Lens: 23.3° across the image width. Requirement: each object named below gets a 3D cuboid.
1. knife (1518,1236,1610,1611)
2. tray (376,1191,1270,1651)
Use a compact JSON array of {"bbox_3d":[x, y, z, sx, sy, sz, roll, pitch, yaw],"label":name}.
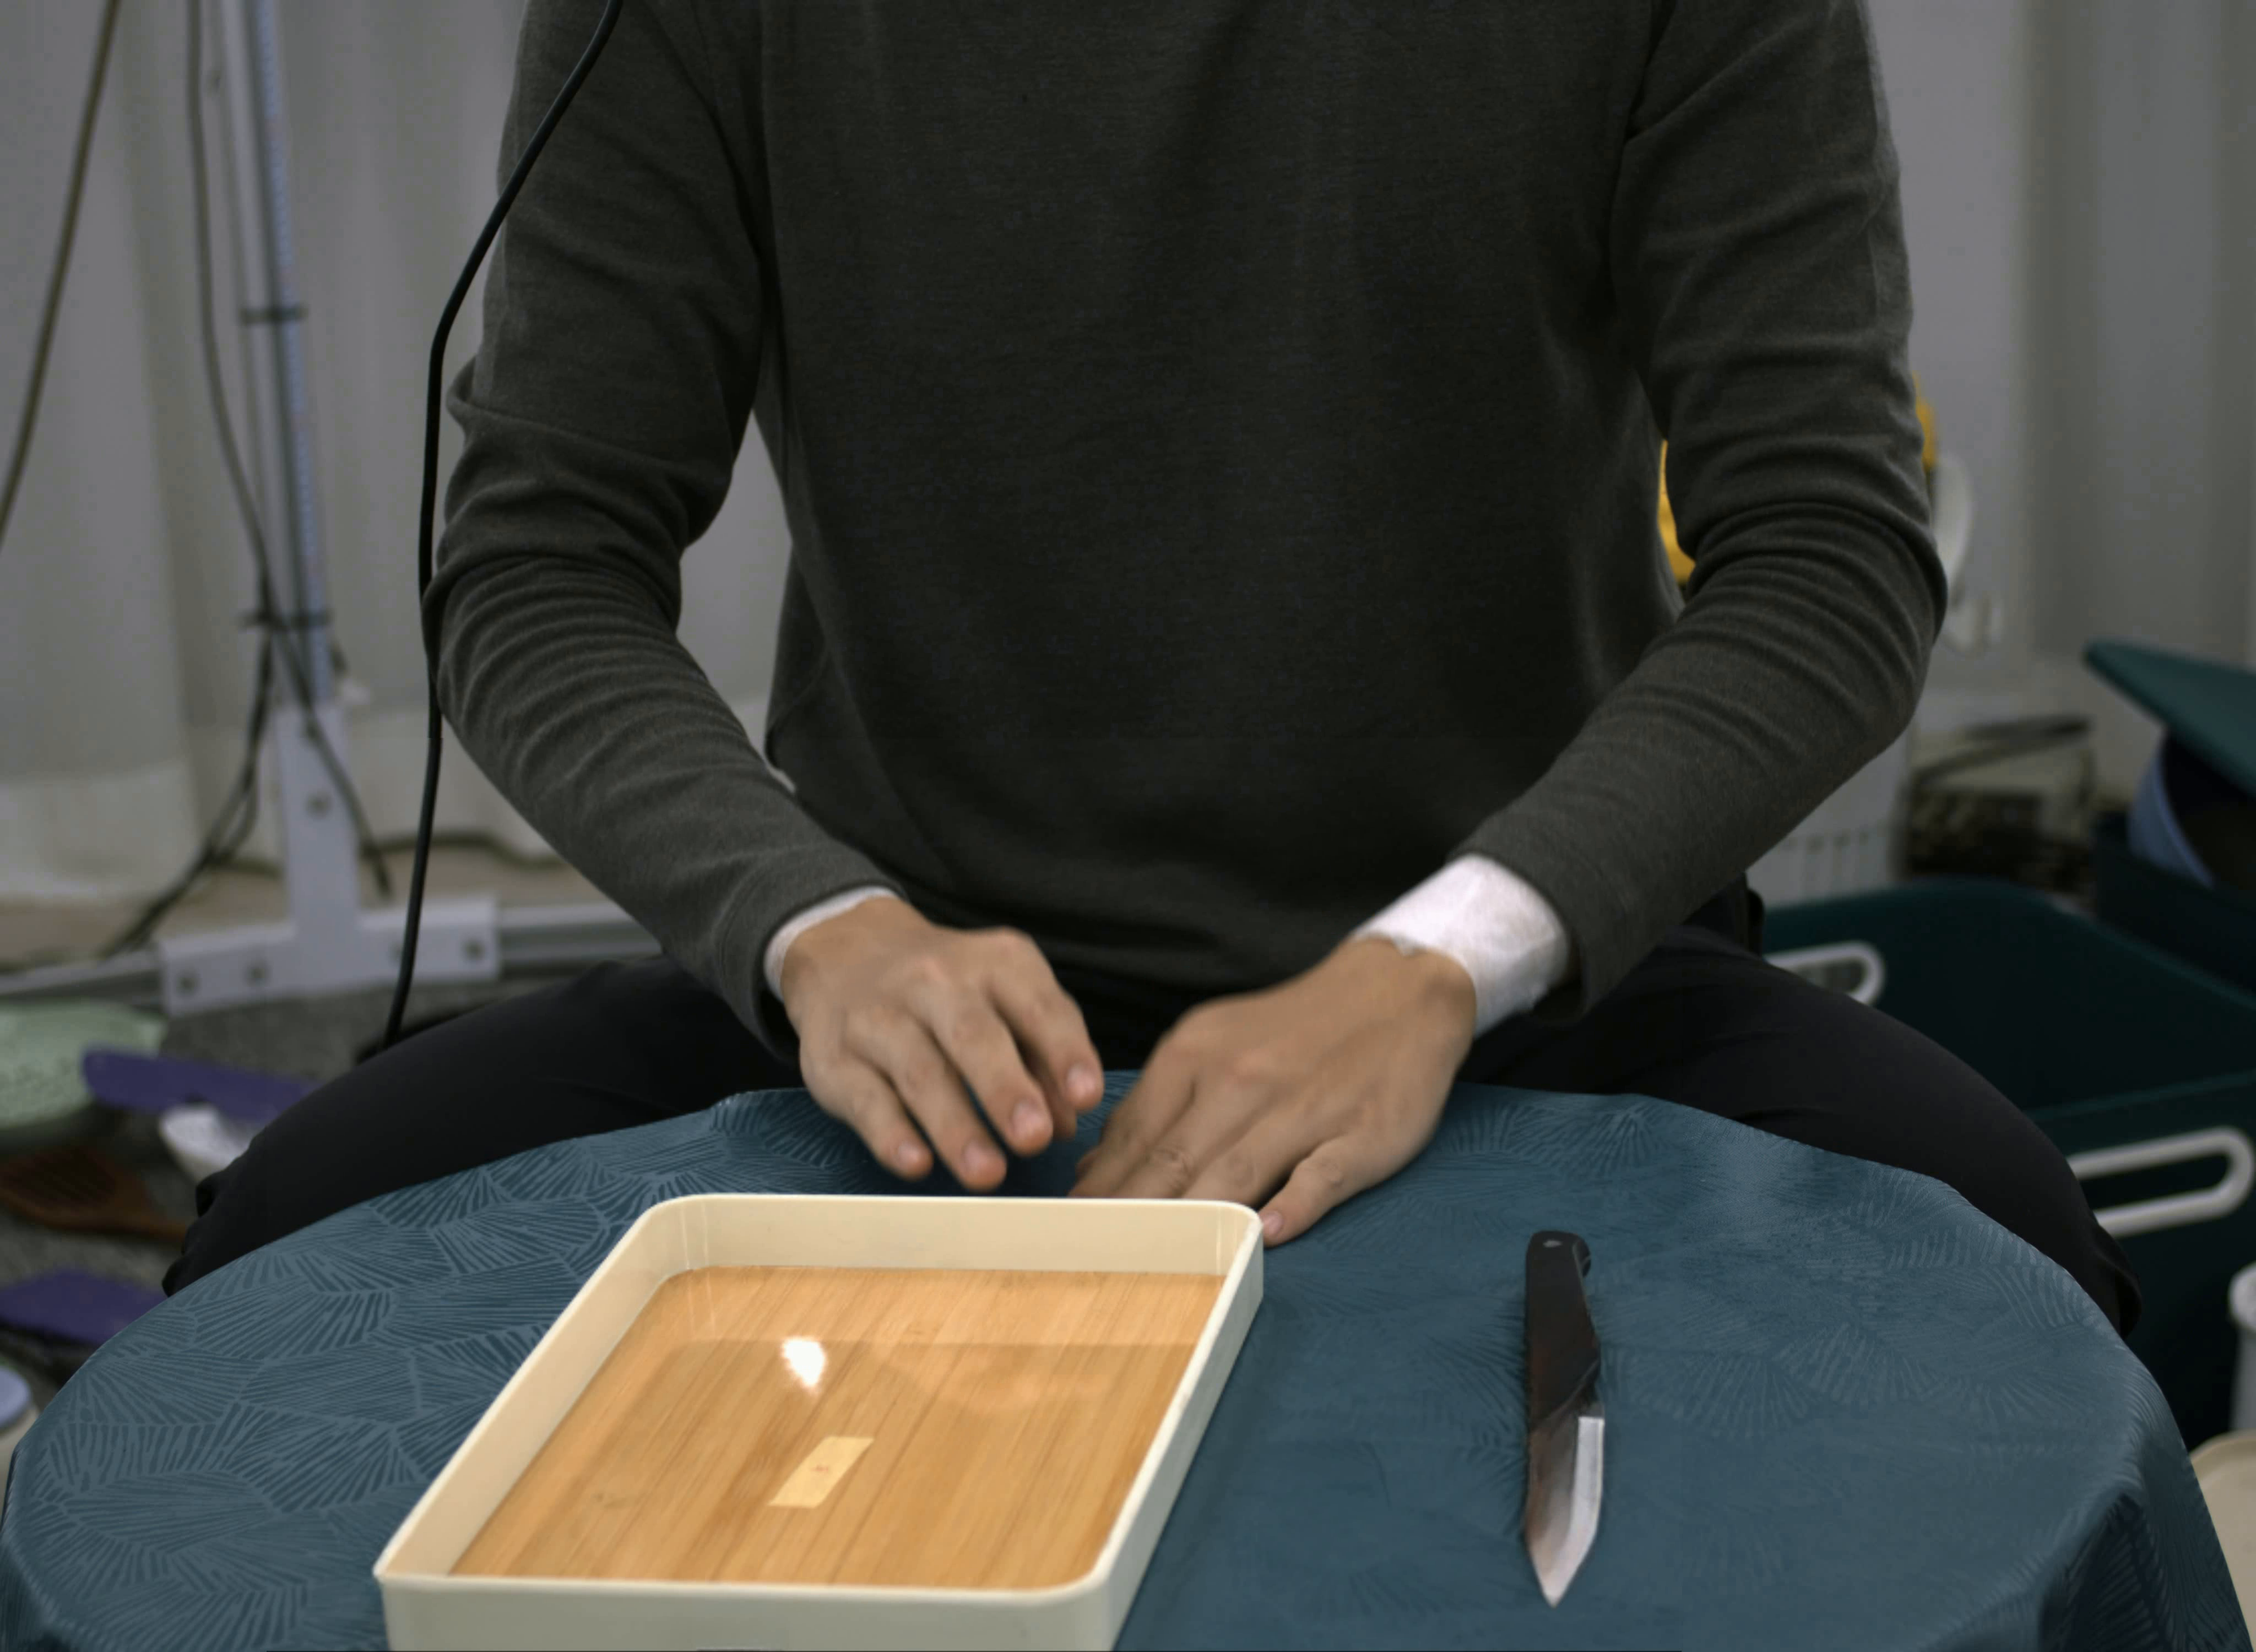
[{"bbox_3d":[0.118,0.162,1.494,0.024,0.016,0.240,-5,17,5],"label":"knife"},{"bbox_3d":[-0.074,0.163,1.498,0.191,0.027,0.302,1,15,10],"label":"tray"}]
